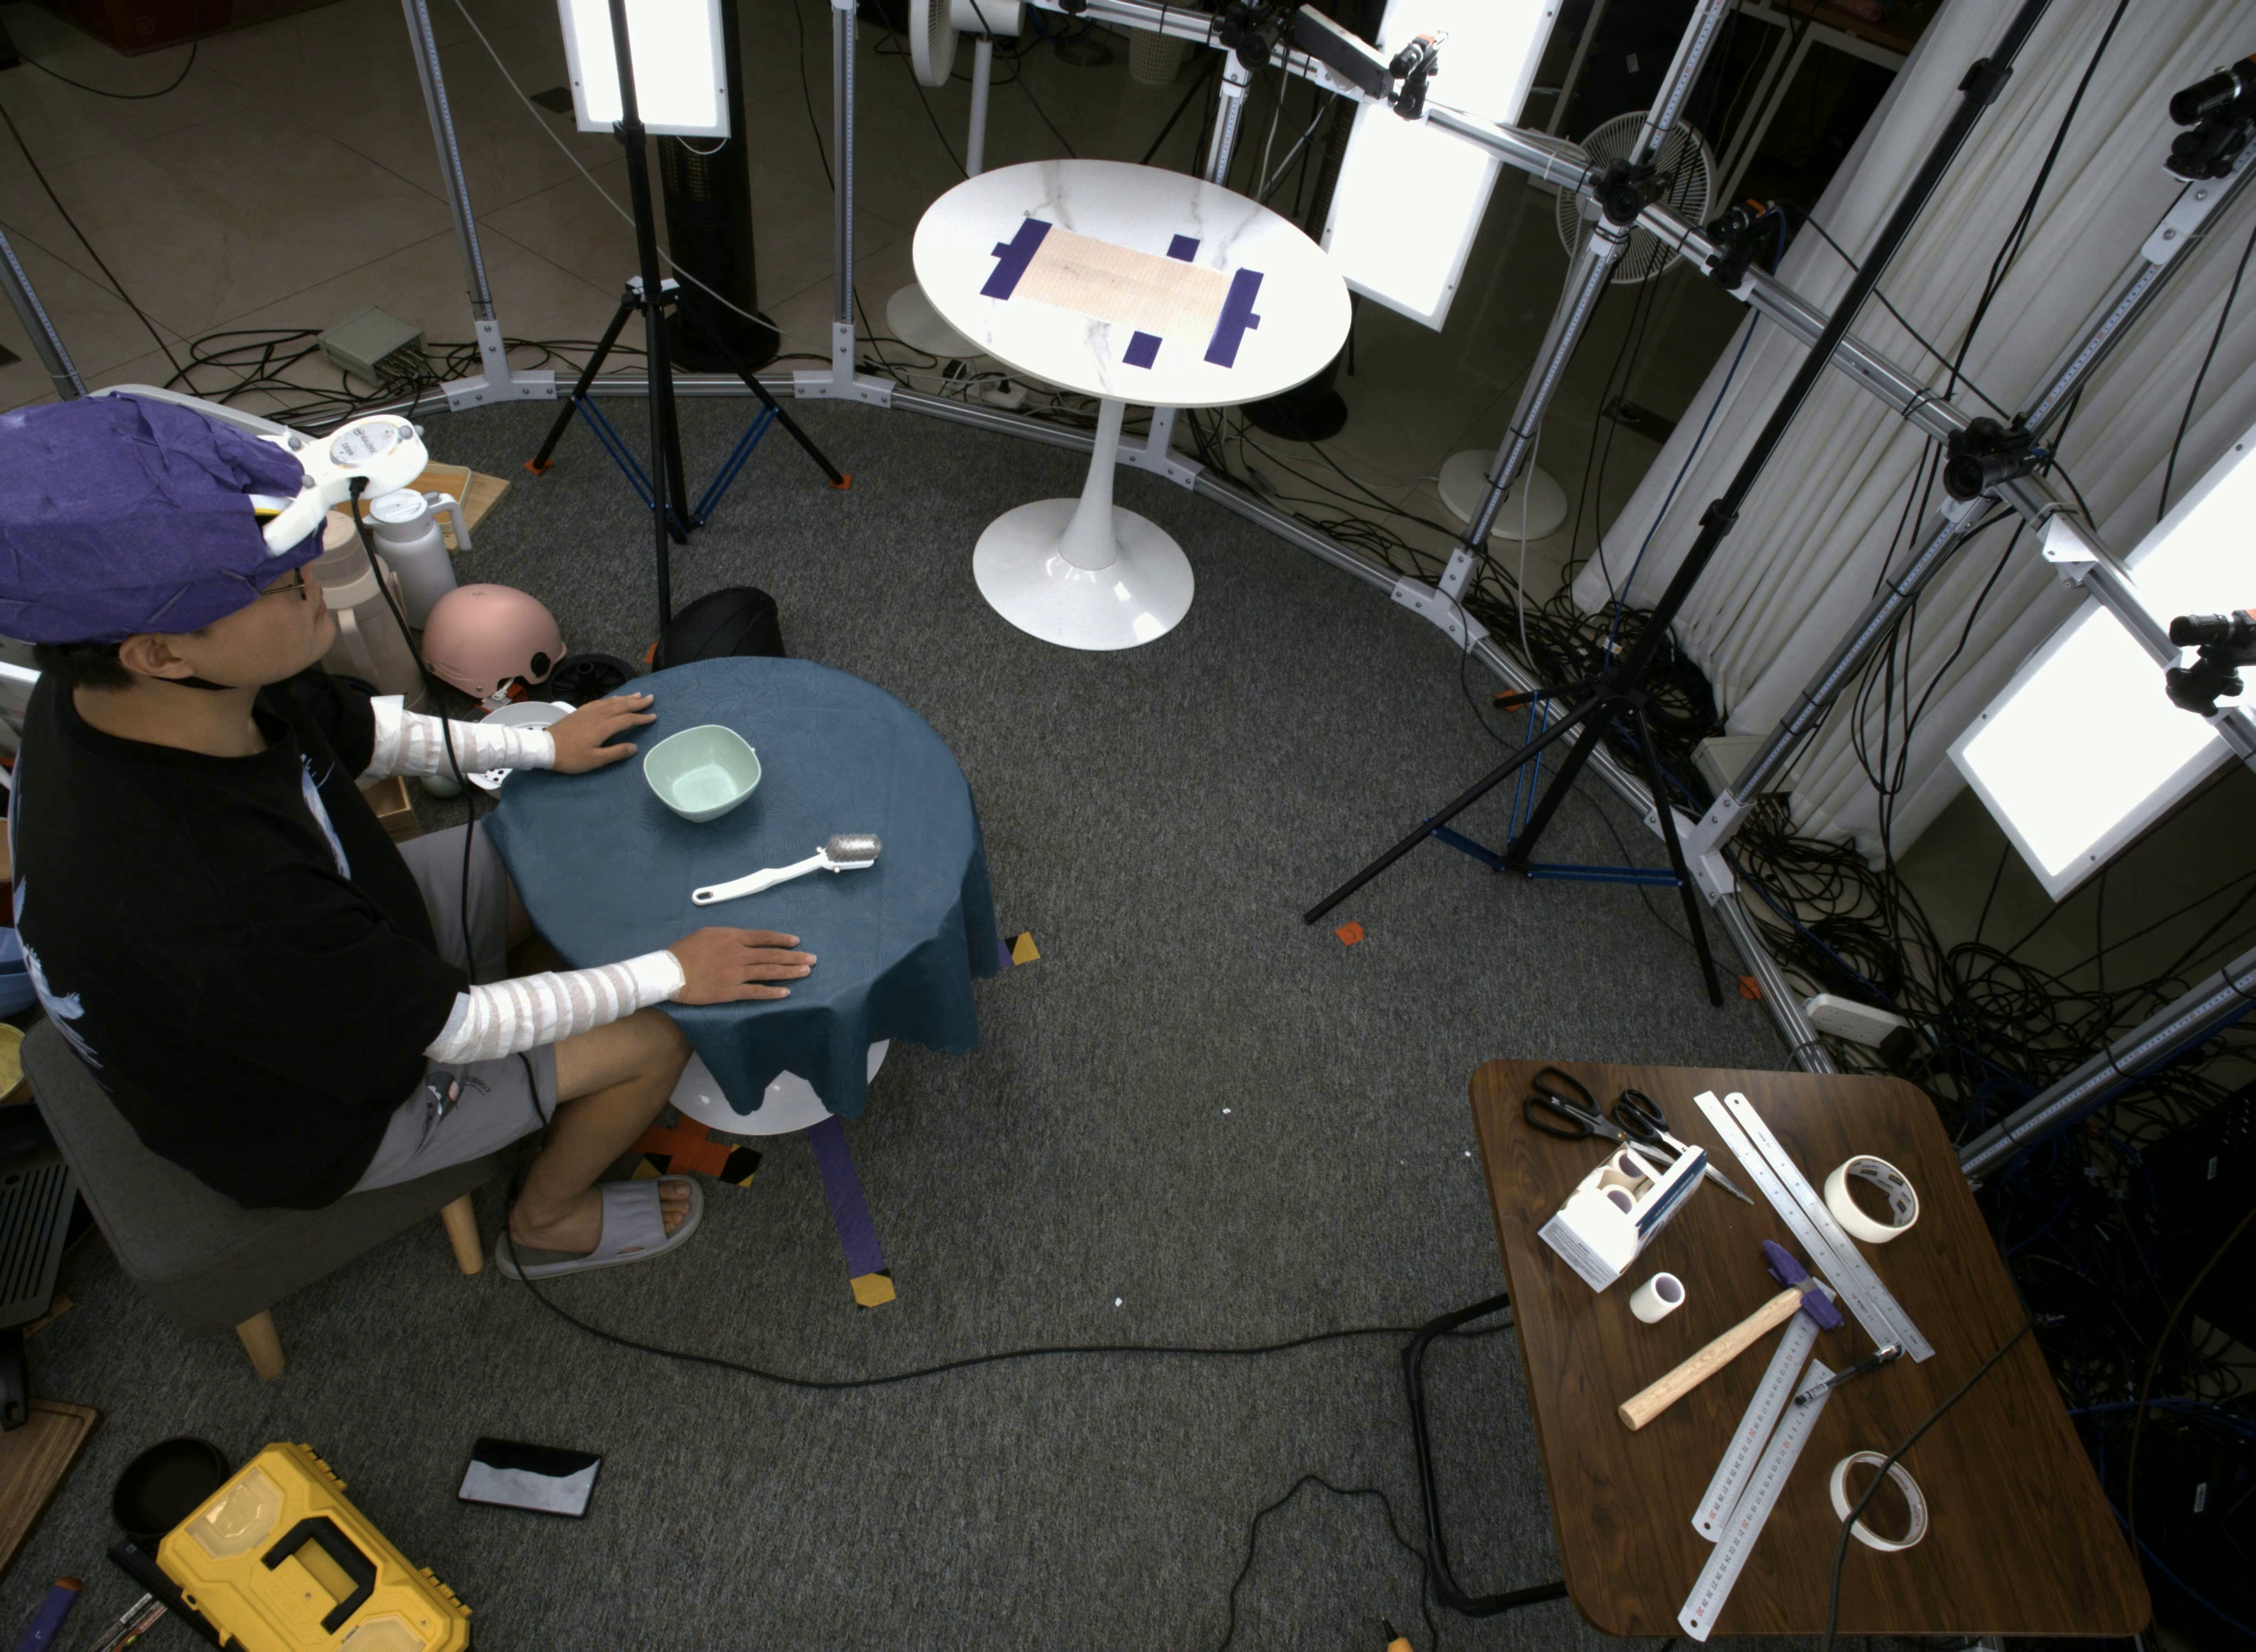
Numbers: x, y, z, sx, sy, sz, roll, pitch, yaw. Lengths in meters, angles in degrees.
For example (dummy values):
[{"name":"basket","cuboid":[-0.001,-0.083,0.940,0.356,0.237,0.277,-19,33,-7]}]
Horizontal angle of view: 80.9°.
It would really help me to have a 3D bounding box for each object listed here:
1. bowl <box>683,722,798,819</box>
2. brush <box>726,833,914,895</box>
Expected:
[{"name":"bowl","cuboid":[-0.515,-0.066,1.724,0.151,0.060,0.148,7,51,-7]},{"name":"brush","cuboid":[-0.397,0.046,1.674,0.245,0.051,0.033,-10,55,-21]}]
